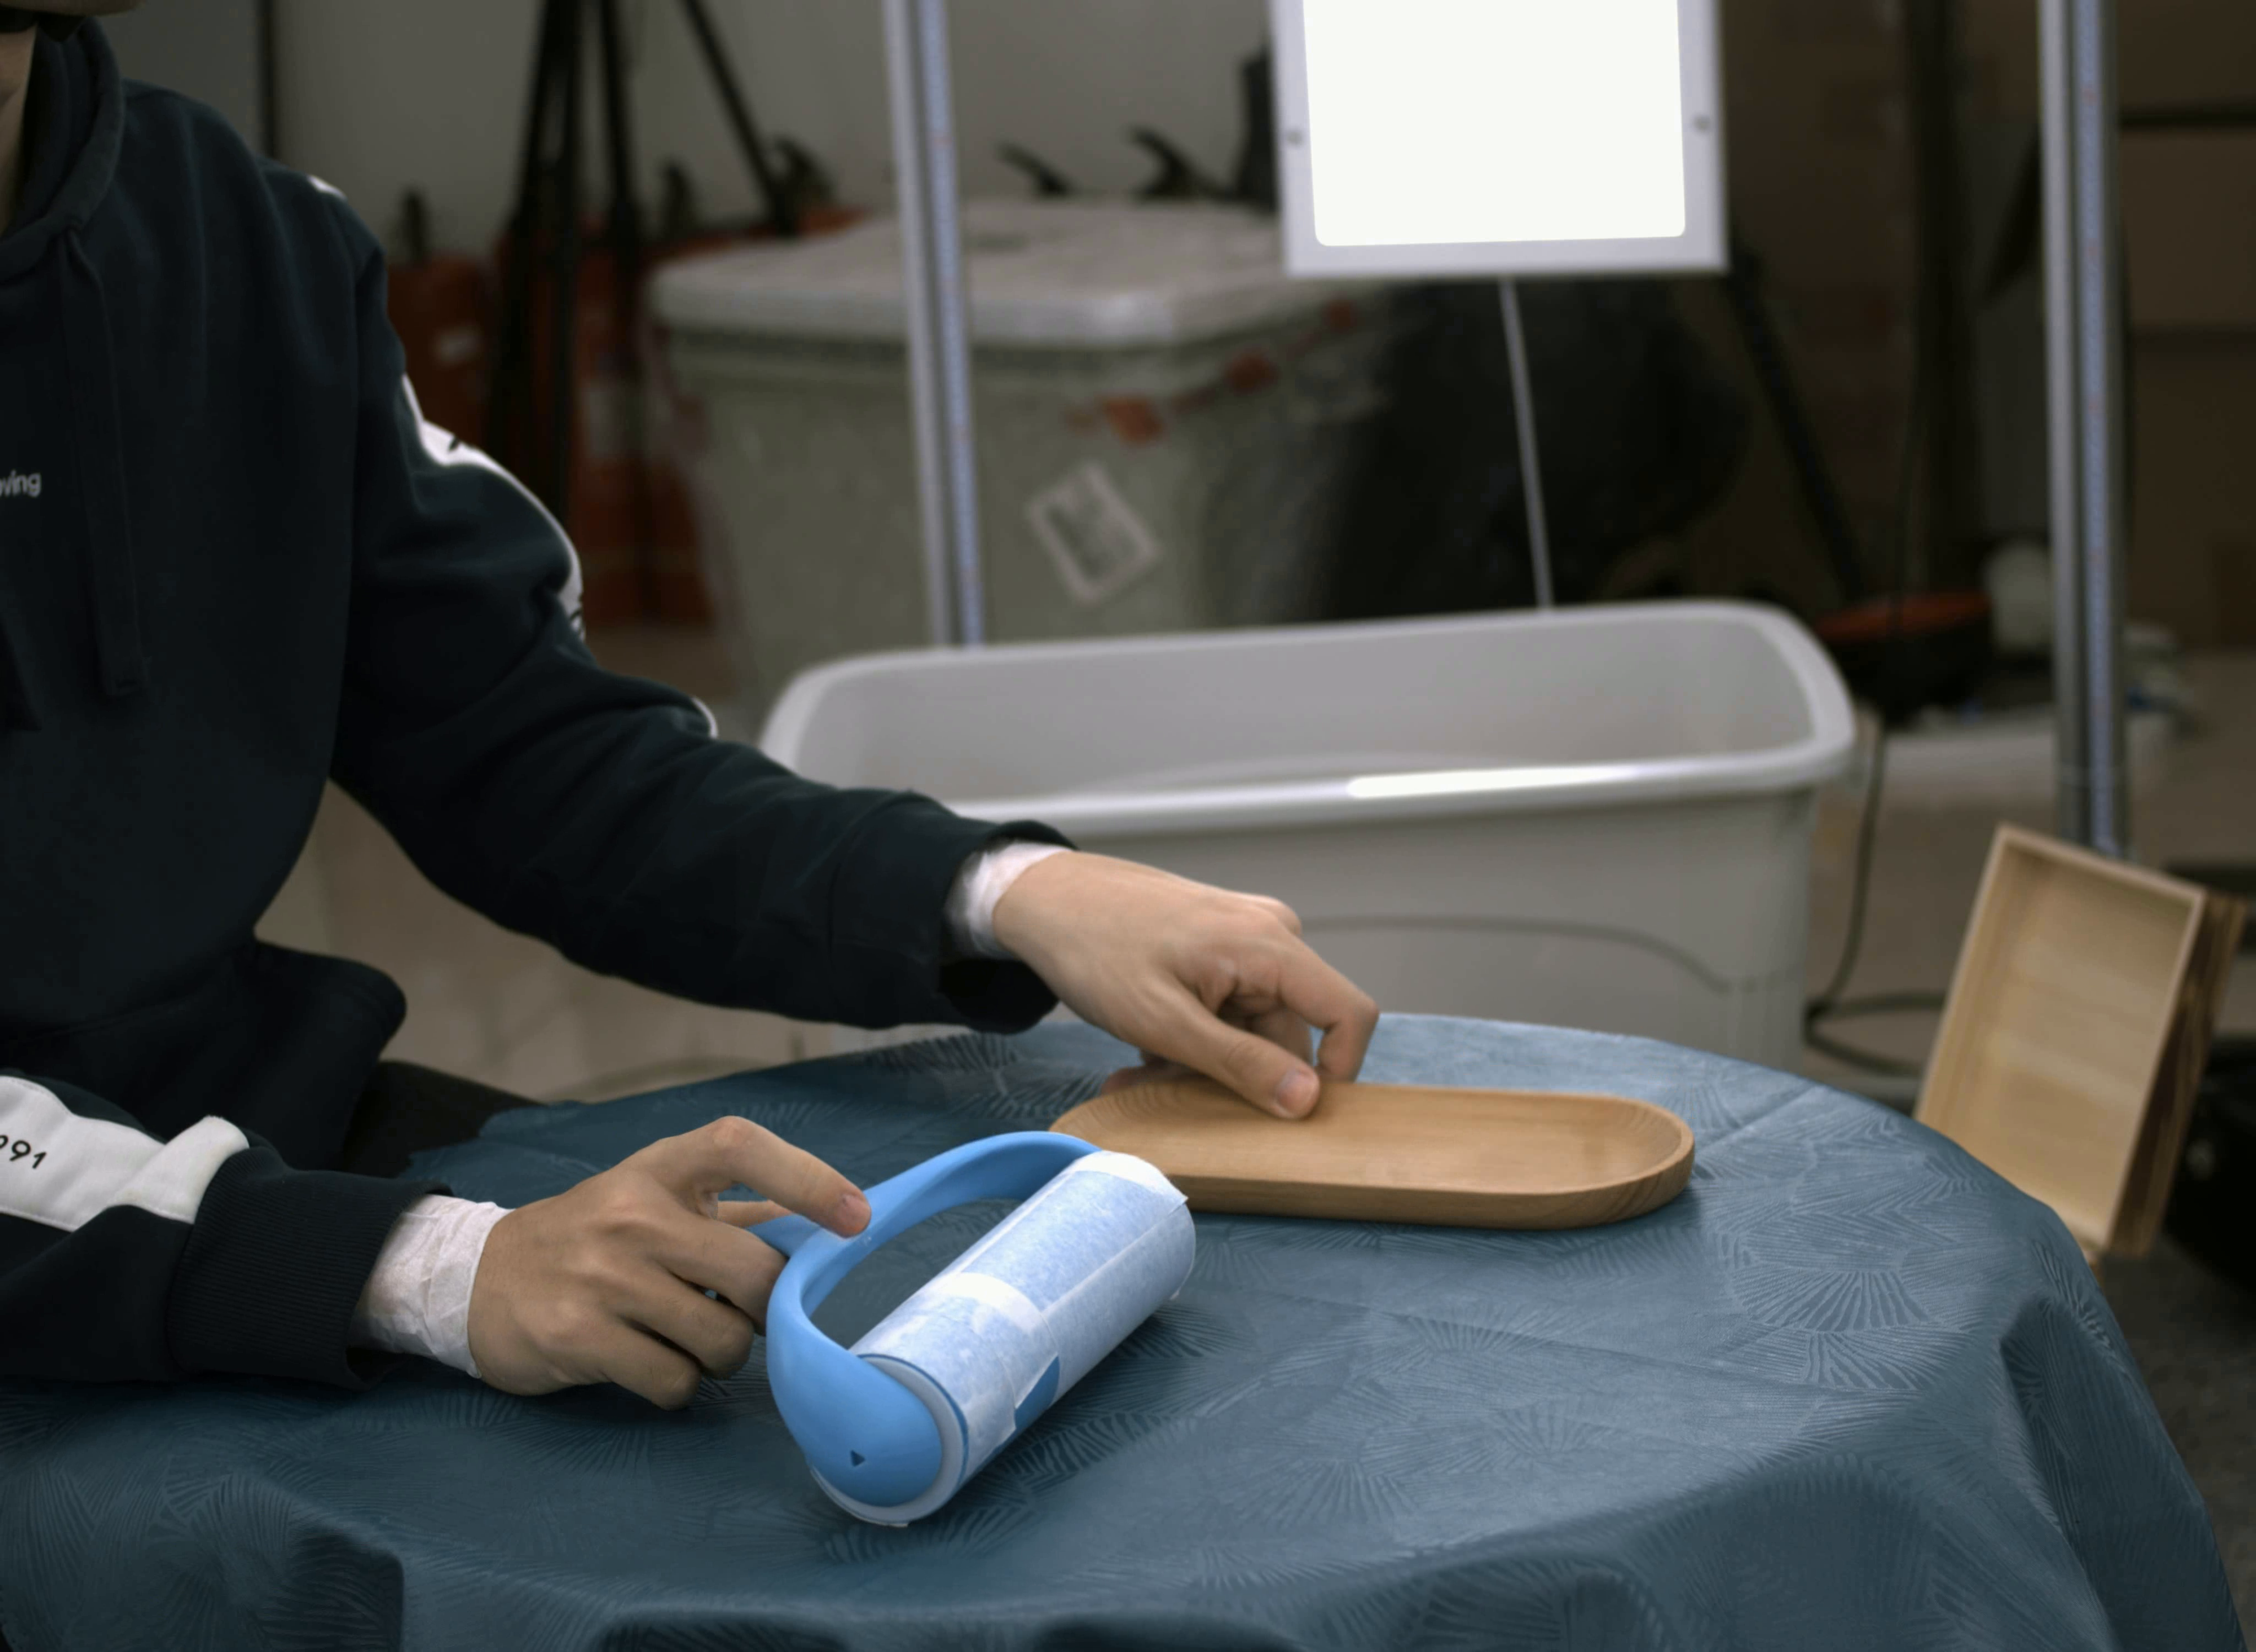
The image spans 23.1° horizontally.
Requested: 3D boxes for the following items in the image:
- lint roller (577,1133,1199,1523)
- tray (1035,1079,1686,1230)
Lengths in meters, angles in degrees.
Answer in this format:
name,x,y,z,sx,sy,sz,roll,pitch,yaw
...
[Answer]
name,x,y,z,sx,sy,sz,roll,pitch,yaw
lint roller,-0.091,0.152,1.705,0.182,0.068,0.225,1,16,20
tray,0.079,0.112,1.884,0.235,0.020,0.100,-1,17,24
